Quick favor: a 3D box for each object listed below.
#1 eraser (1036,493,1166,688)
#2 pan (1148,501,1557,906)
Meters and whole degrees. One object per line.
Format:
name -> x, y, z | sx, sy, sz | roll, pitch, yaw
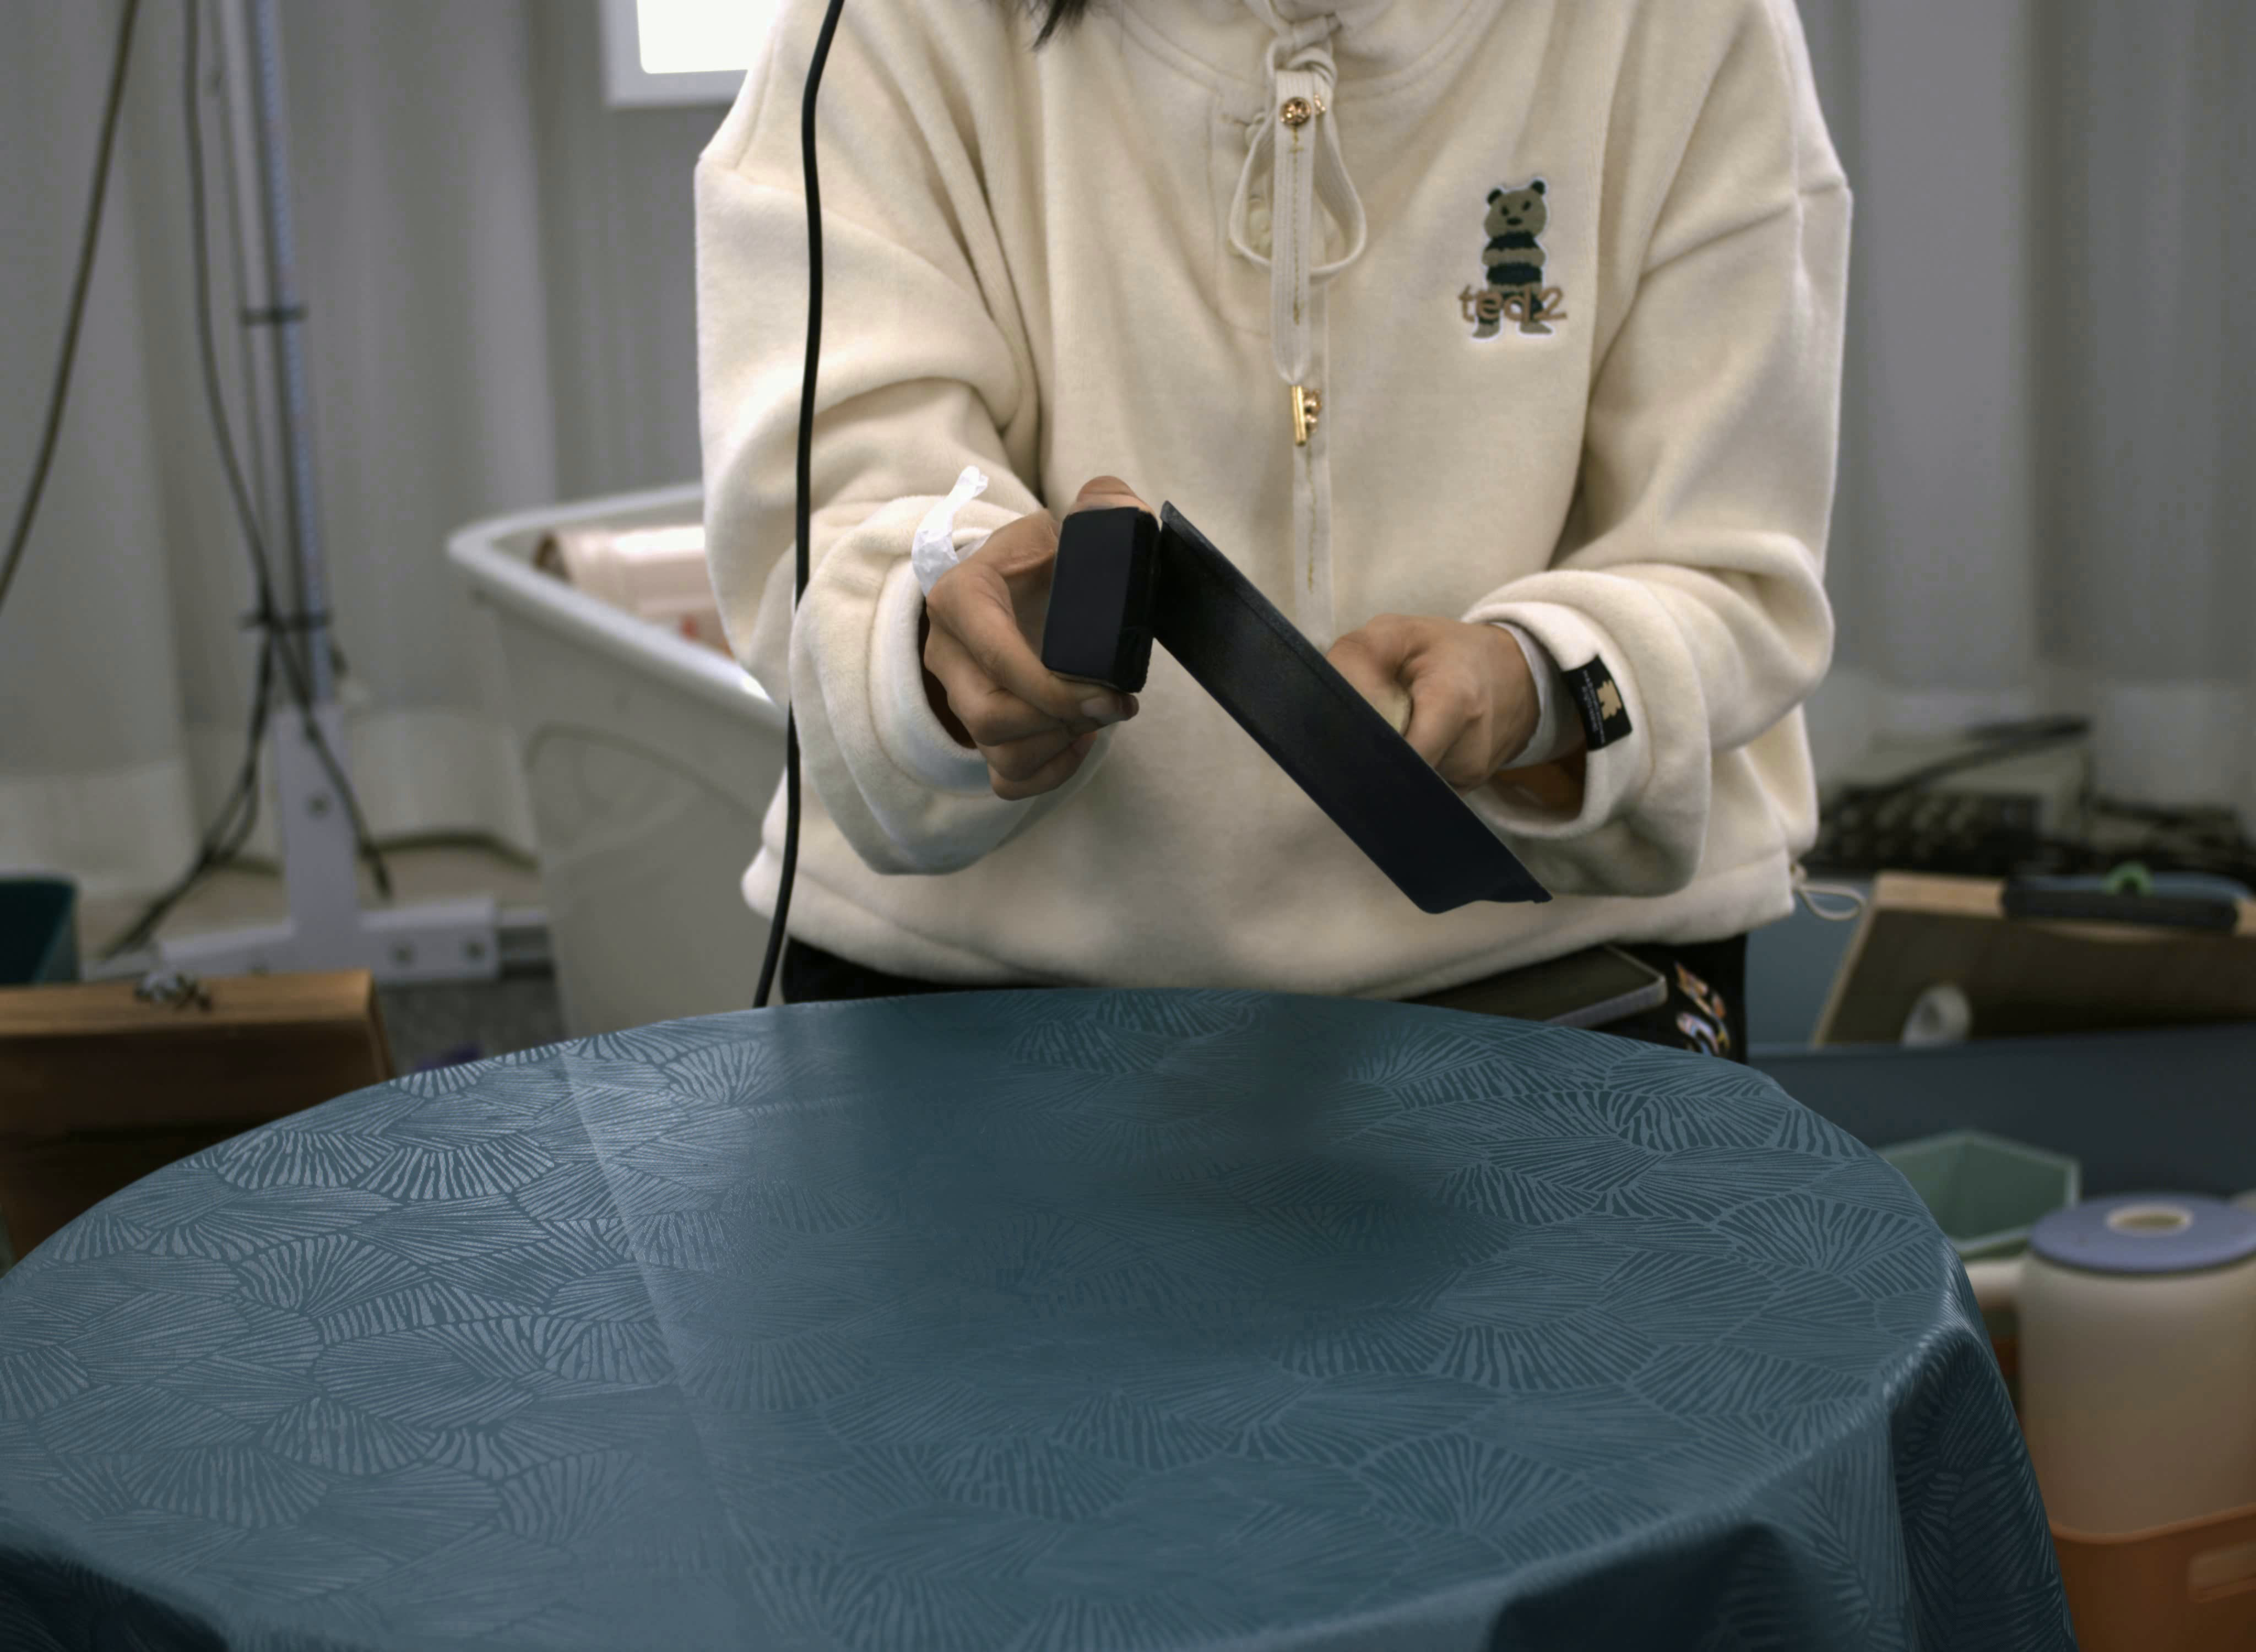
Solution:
eraser -> -0.007, -0.071, 1.675 | 0.030, 0.053, 0.125 | 10, 0, 2
pan -> 0.073, -0.032, 1.762 | 0.049, 0.169, 0.323 | -45, -6, 2
